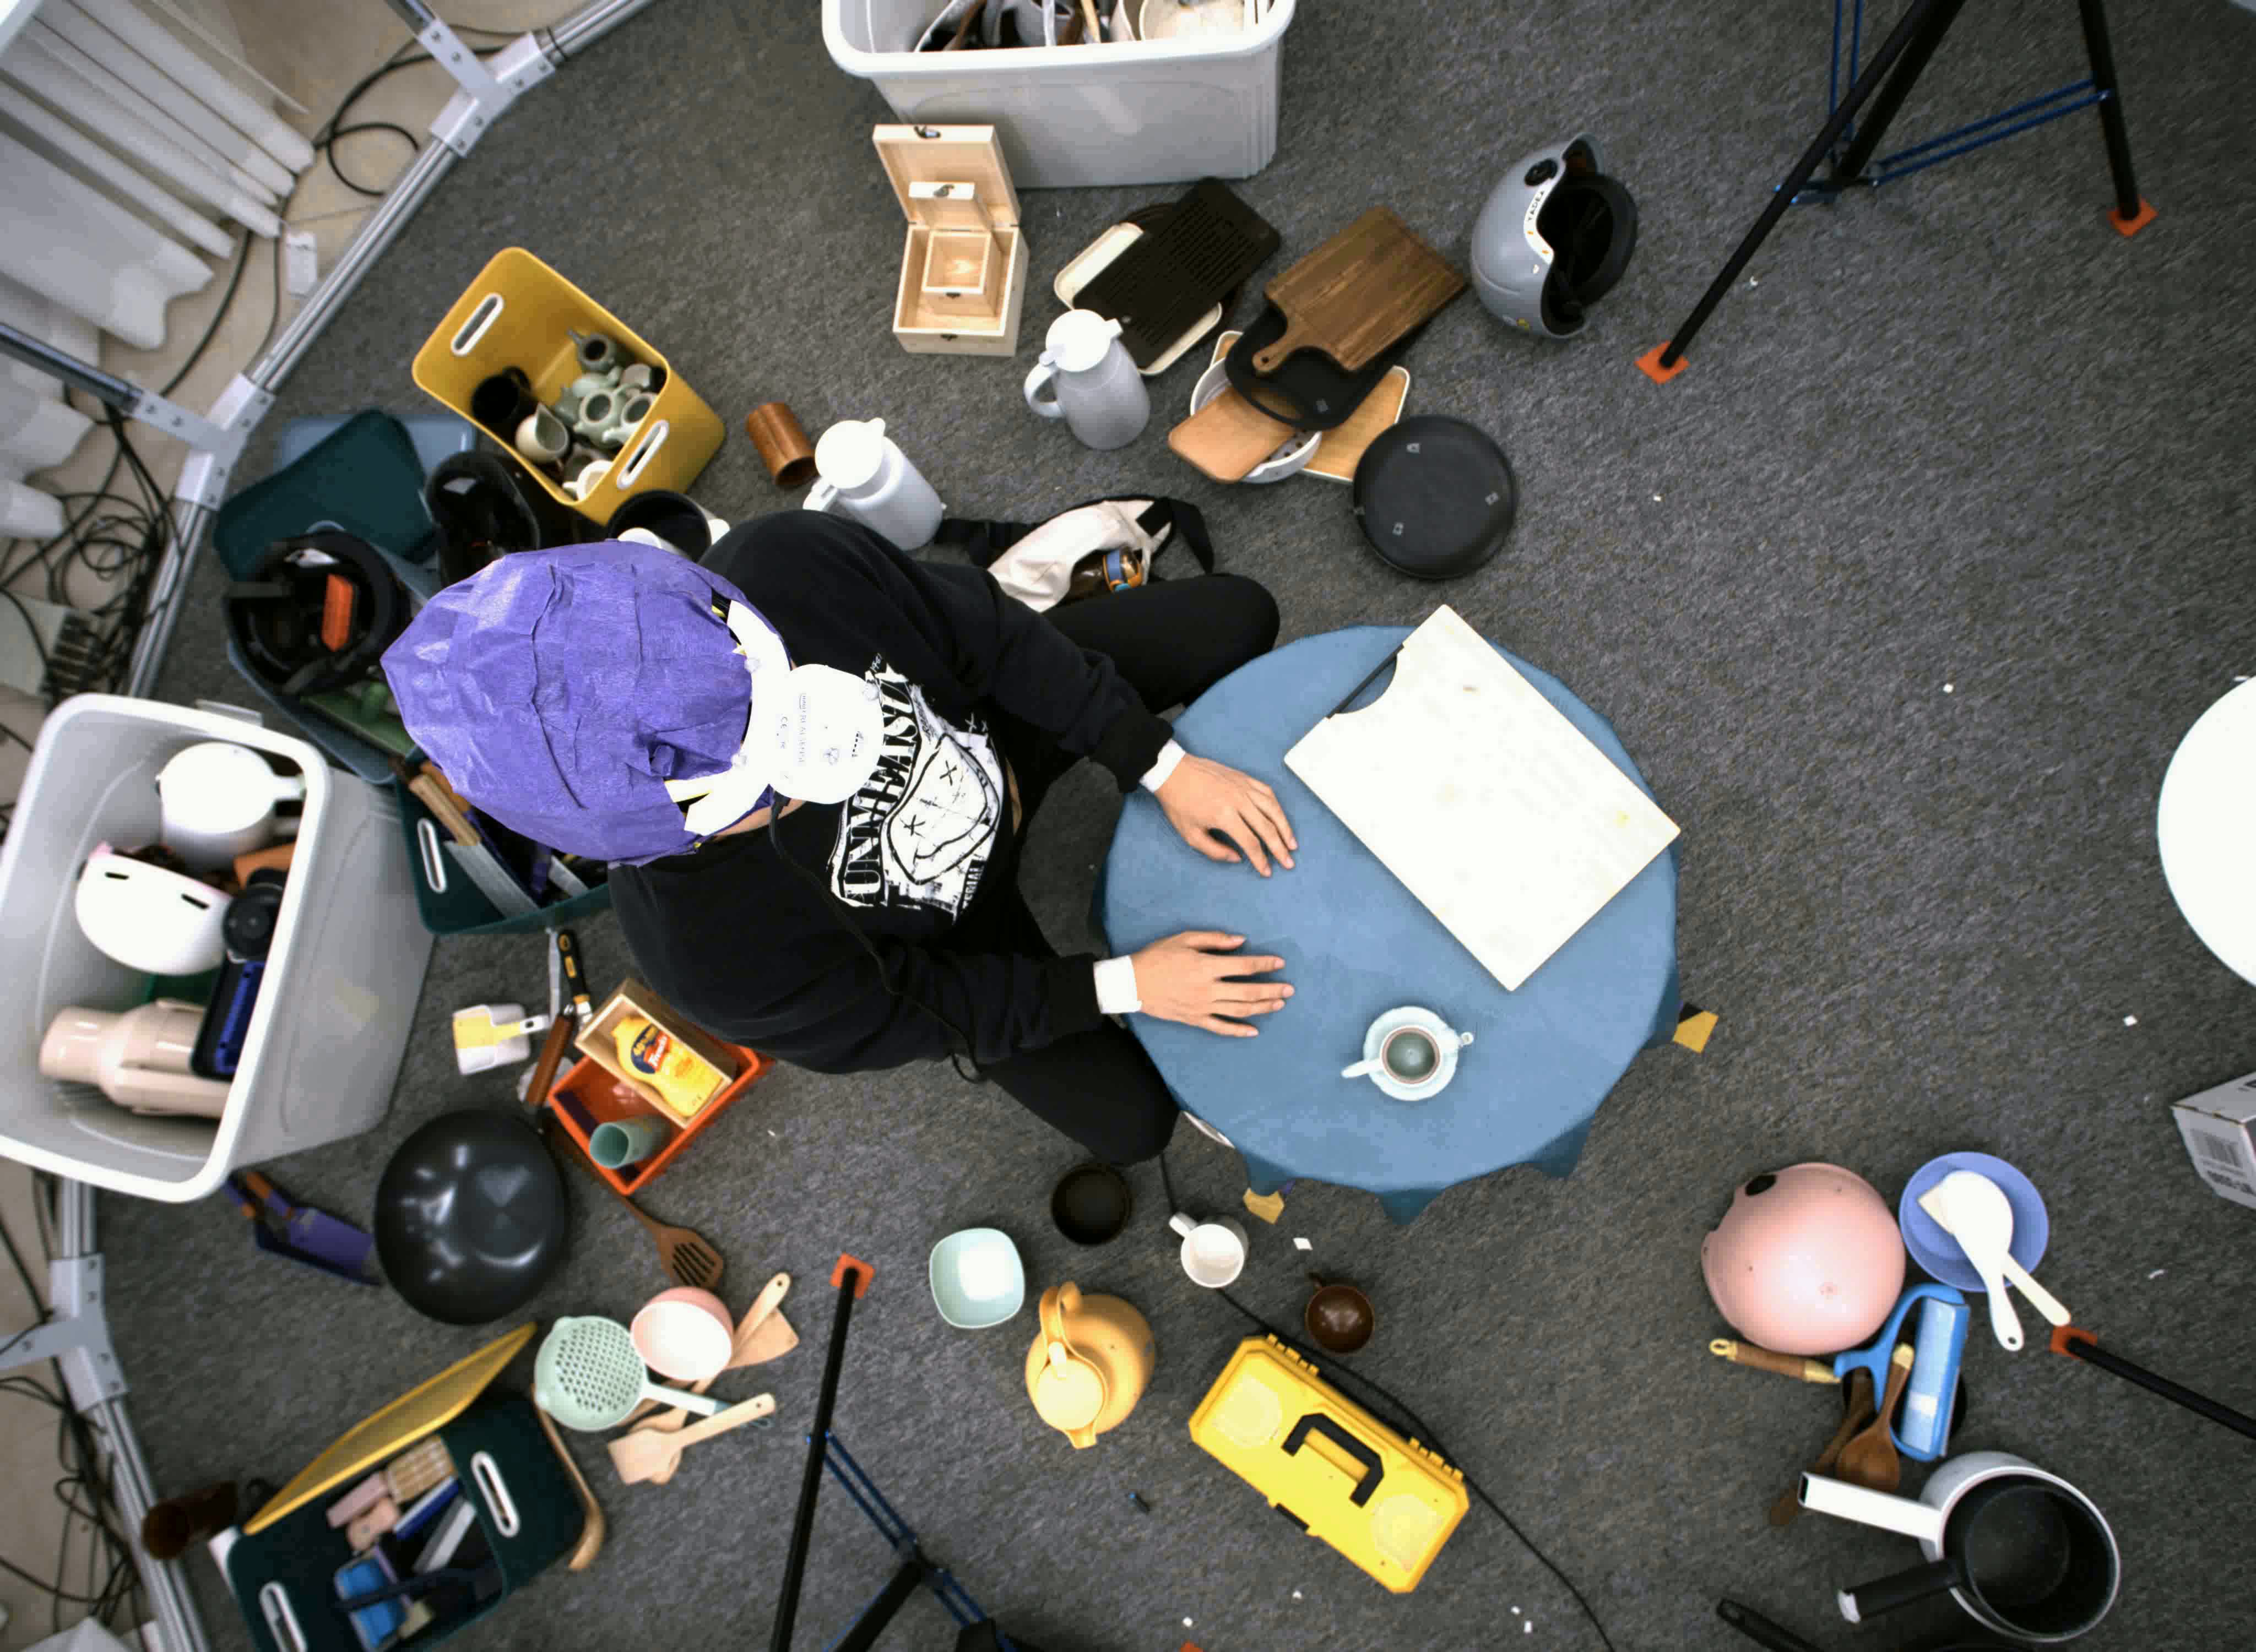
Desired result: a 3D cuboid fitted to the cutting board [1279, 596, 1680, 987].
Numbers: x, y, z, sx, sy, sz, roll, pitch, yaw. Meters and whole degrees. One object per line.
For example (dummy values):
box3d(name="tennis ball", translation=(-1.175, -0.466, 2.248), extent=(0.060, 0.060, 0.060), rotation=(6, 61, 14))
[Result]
box3d(name="cutting board", translation=(0.363, -0.039, 1.441), extent=(0.252, 0.023, 0.347), rotation=(-45, 80, 6))

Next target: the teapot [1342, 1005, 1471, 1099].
box3d(name="teapot", translation=(0.285, 0.233, 1.420), extent=(0.138, 0.061, 0.096), rotation=(-21, 84, 9))
